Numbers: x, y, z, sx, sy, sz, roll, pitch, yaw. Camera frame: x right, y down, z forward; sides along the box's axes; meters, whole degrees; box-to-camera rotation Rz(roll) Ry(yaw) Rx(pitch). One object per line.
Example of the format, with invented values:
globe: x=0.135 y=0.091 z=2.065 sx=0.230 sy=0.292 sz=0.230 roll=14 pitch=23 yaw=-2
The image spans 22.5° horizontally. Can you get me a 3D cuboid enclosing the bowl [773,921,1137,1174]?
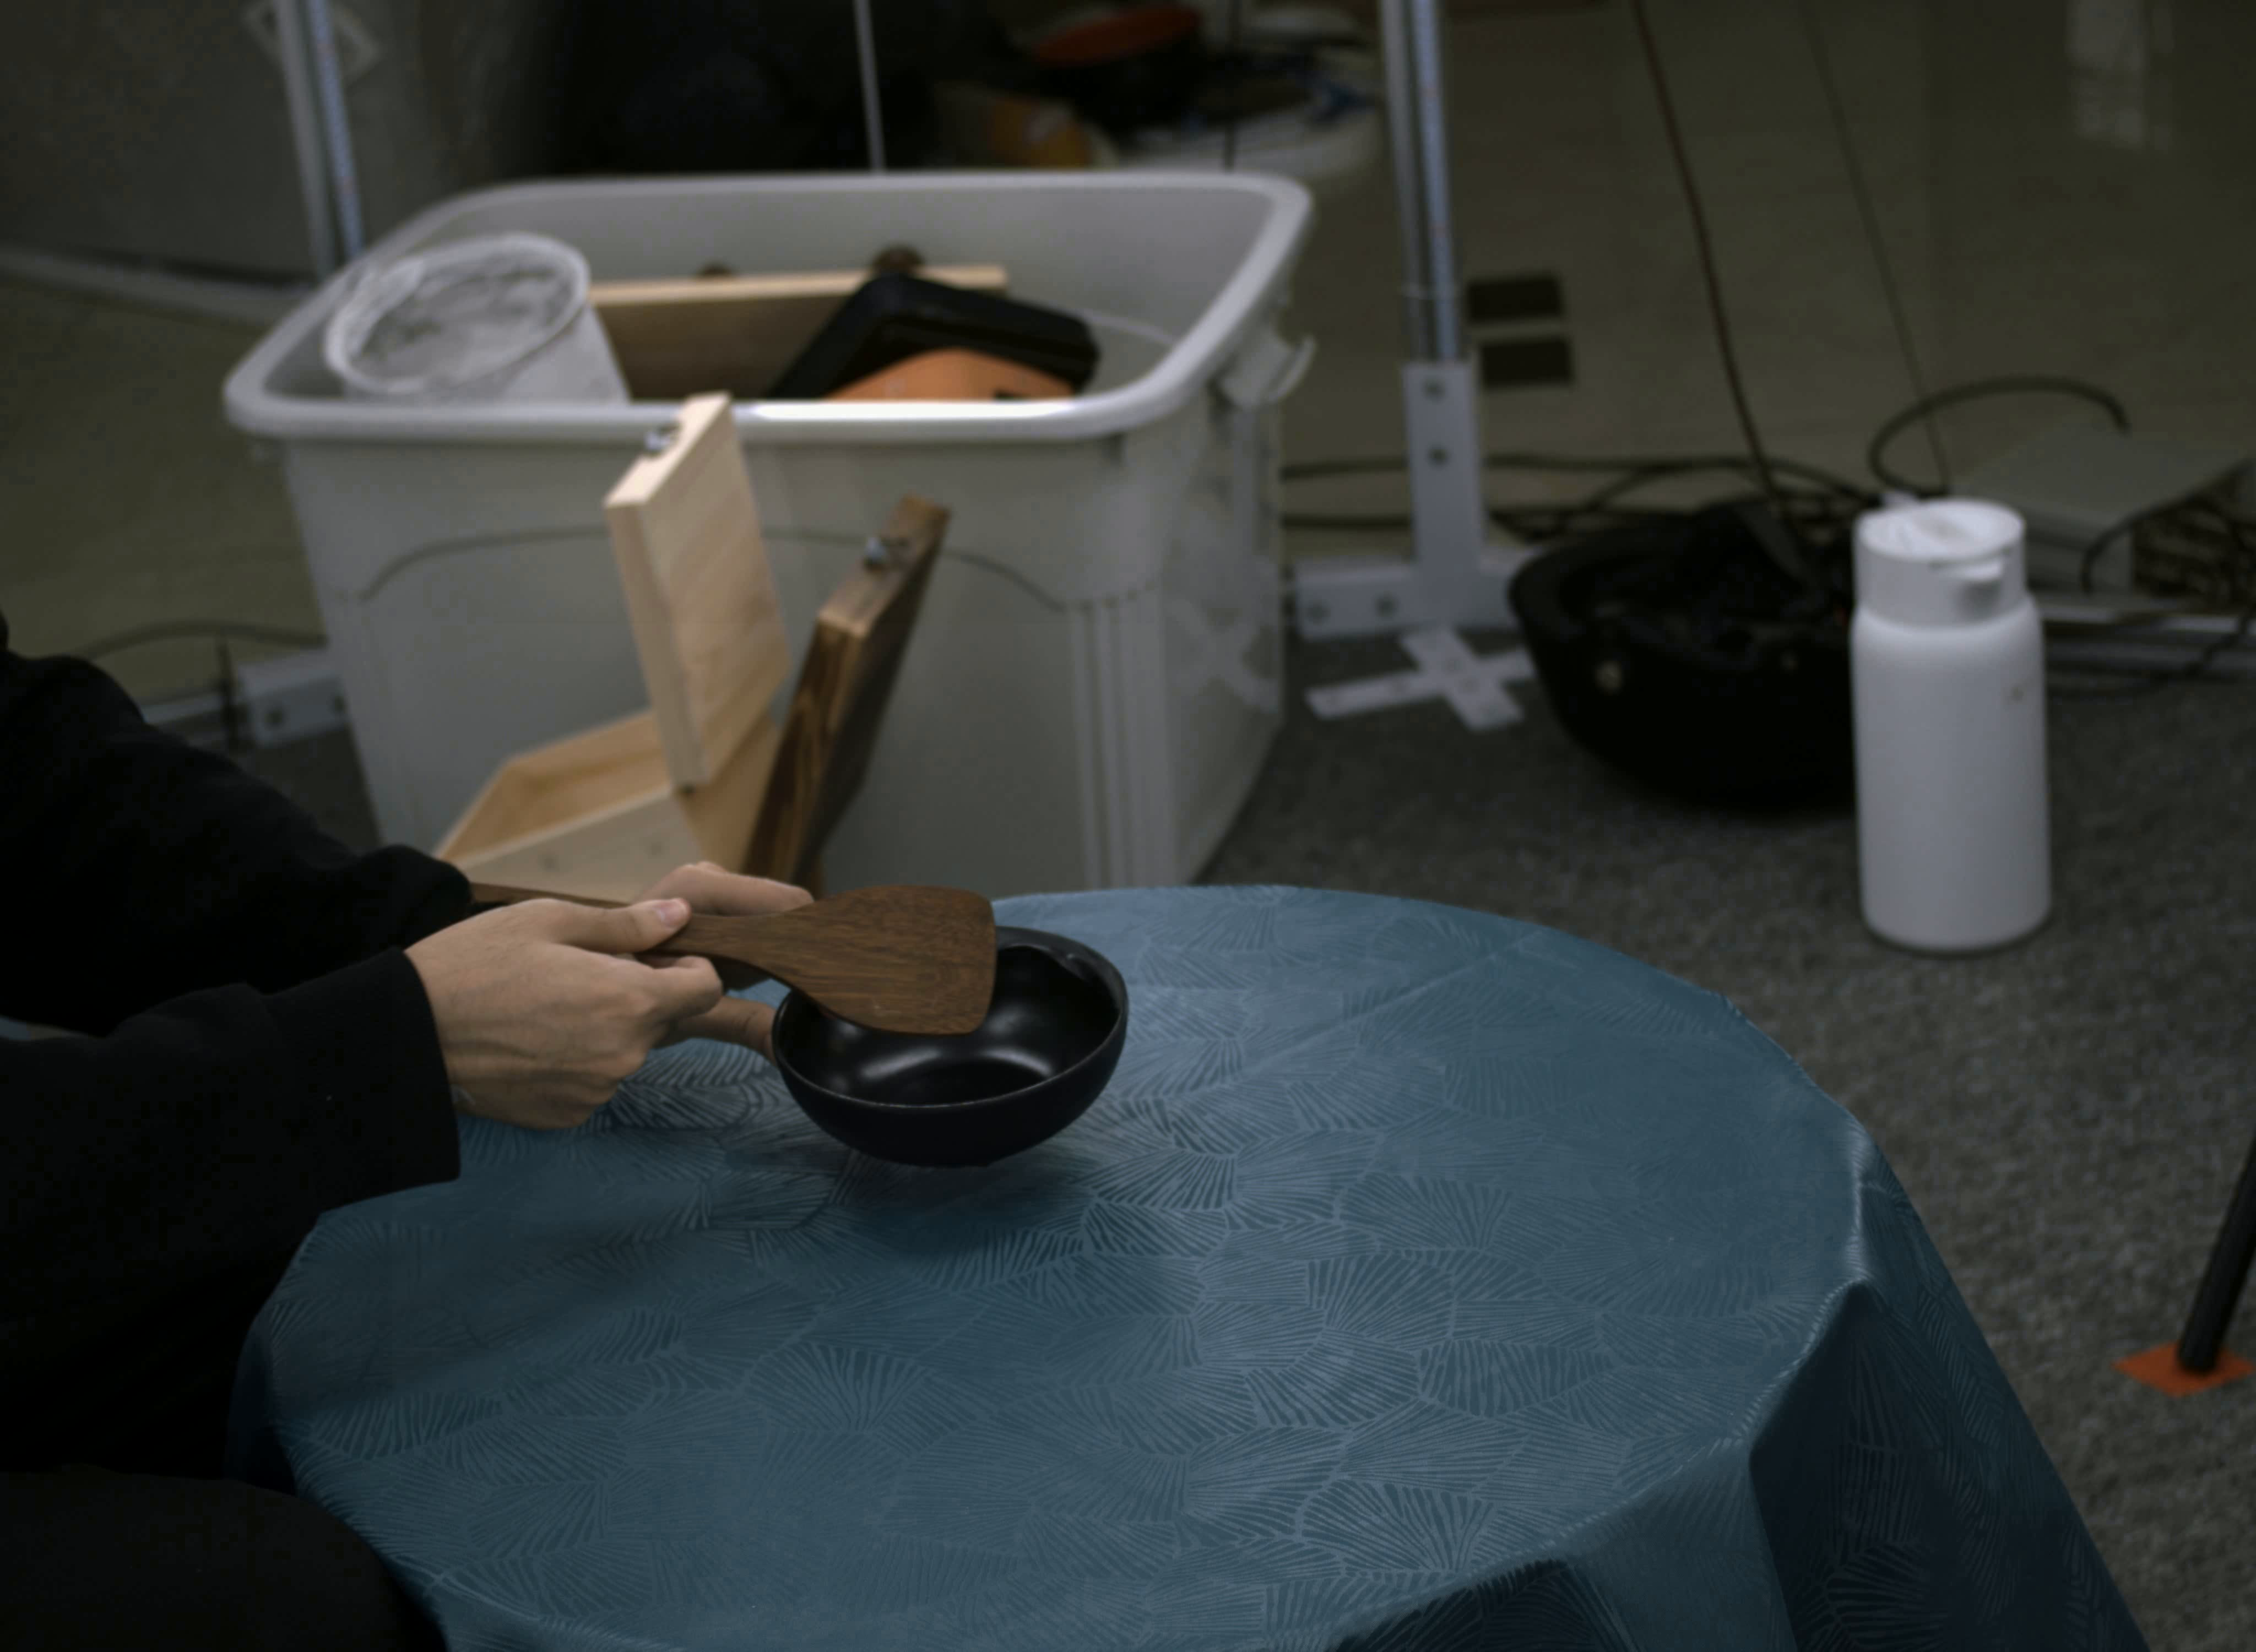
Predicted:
bowl: x=-0.065 y=0.093 z=2.182 sx=0.140 sy=0.050 sz=0.137 roll=-5 pitch=32 yaw=3

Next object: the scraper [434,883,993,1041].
scraper: x=-0.156 y=0.043 z=2.136 sx=0.211 sy=0.011 sz=0.074 roll=6 pitch=50 yaw=-3
